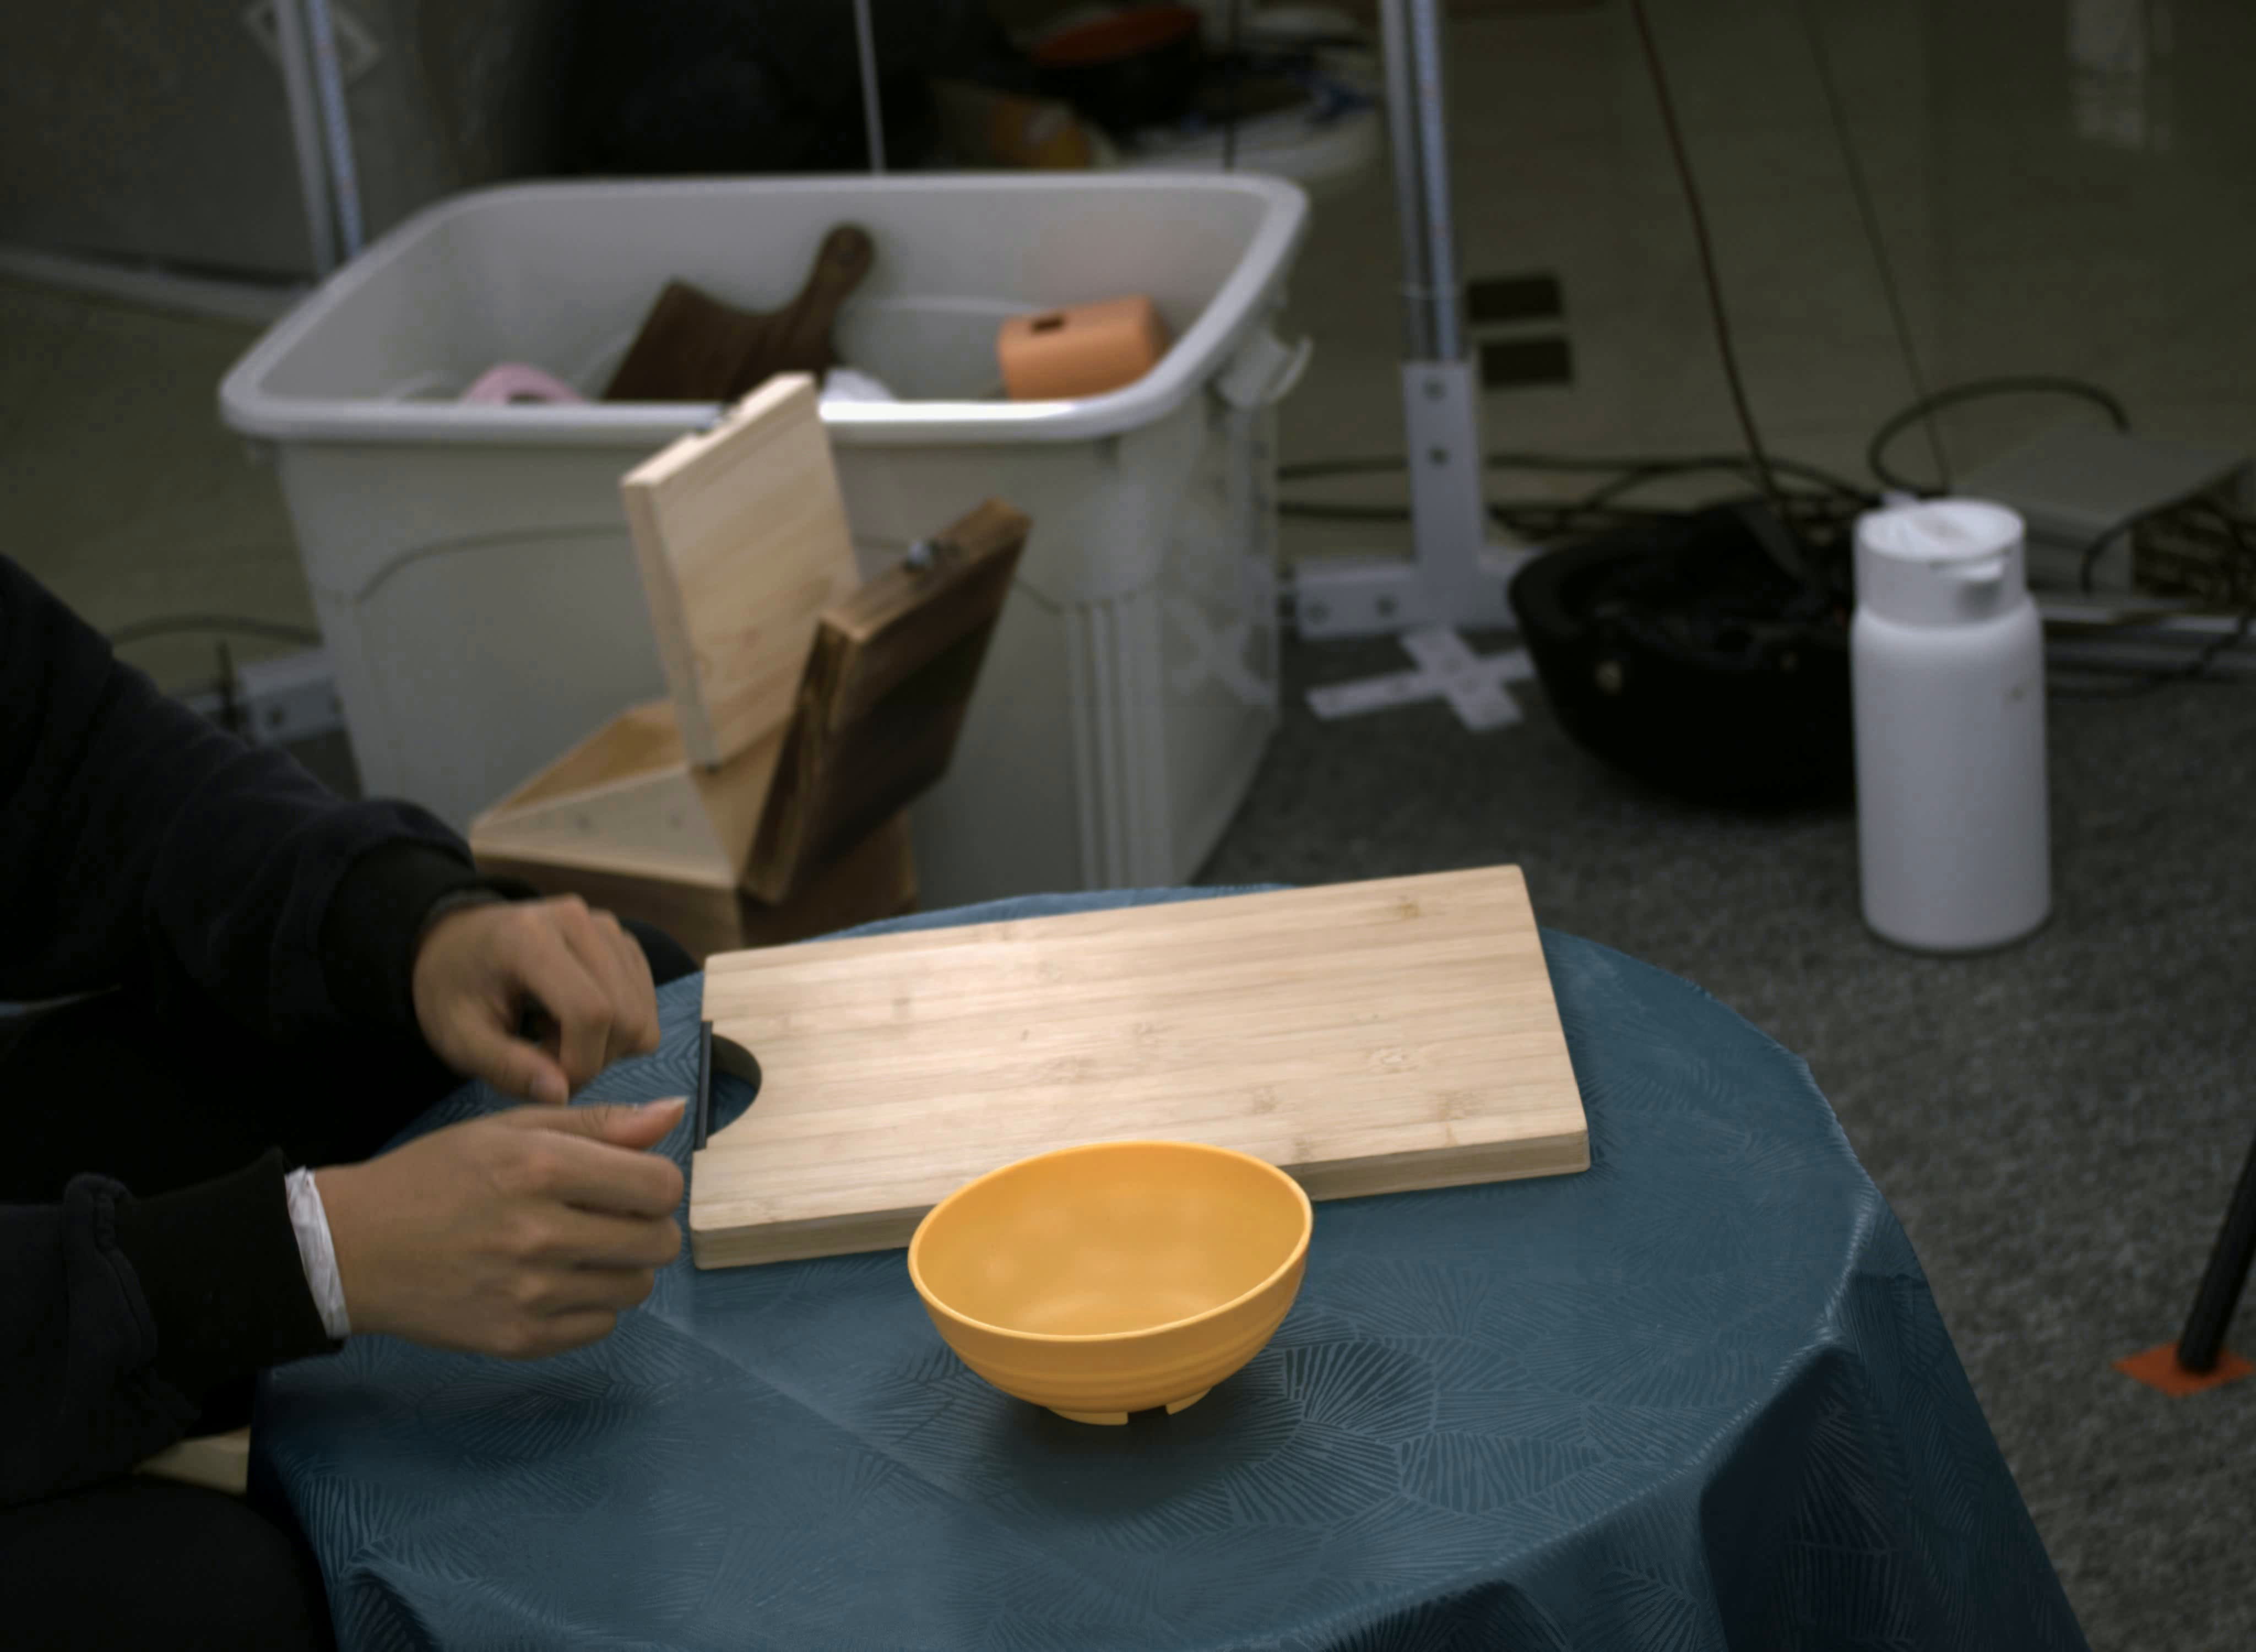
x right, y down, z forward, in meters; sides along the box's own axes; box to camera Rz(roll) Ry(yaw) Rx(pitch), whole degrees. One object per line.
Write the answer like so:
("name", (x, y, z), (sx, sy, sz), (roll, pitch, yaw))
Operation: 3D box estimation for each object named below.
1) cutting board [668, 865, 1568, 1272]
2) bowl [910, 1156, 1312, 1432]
("cutting board", (-0.006, 0.093, 2.235), (0.348, 0.024, 0.247), (-7, 25, -1))
("bowl", (-0.002, 0.173, 2.014), (0.145, 0.061, 0.143), (-7, 23, 3))
